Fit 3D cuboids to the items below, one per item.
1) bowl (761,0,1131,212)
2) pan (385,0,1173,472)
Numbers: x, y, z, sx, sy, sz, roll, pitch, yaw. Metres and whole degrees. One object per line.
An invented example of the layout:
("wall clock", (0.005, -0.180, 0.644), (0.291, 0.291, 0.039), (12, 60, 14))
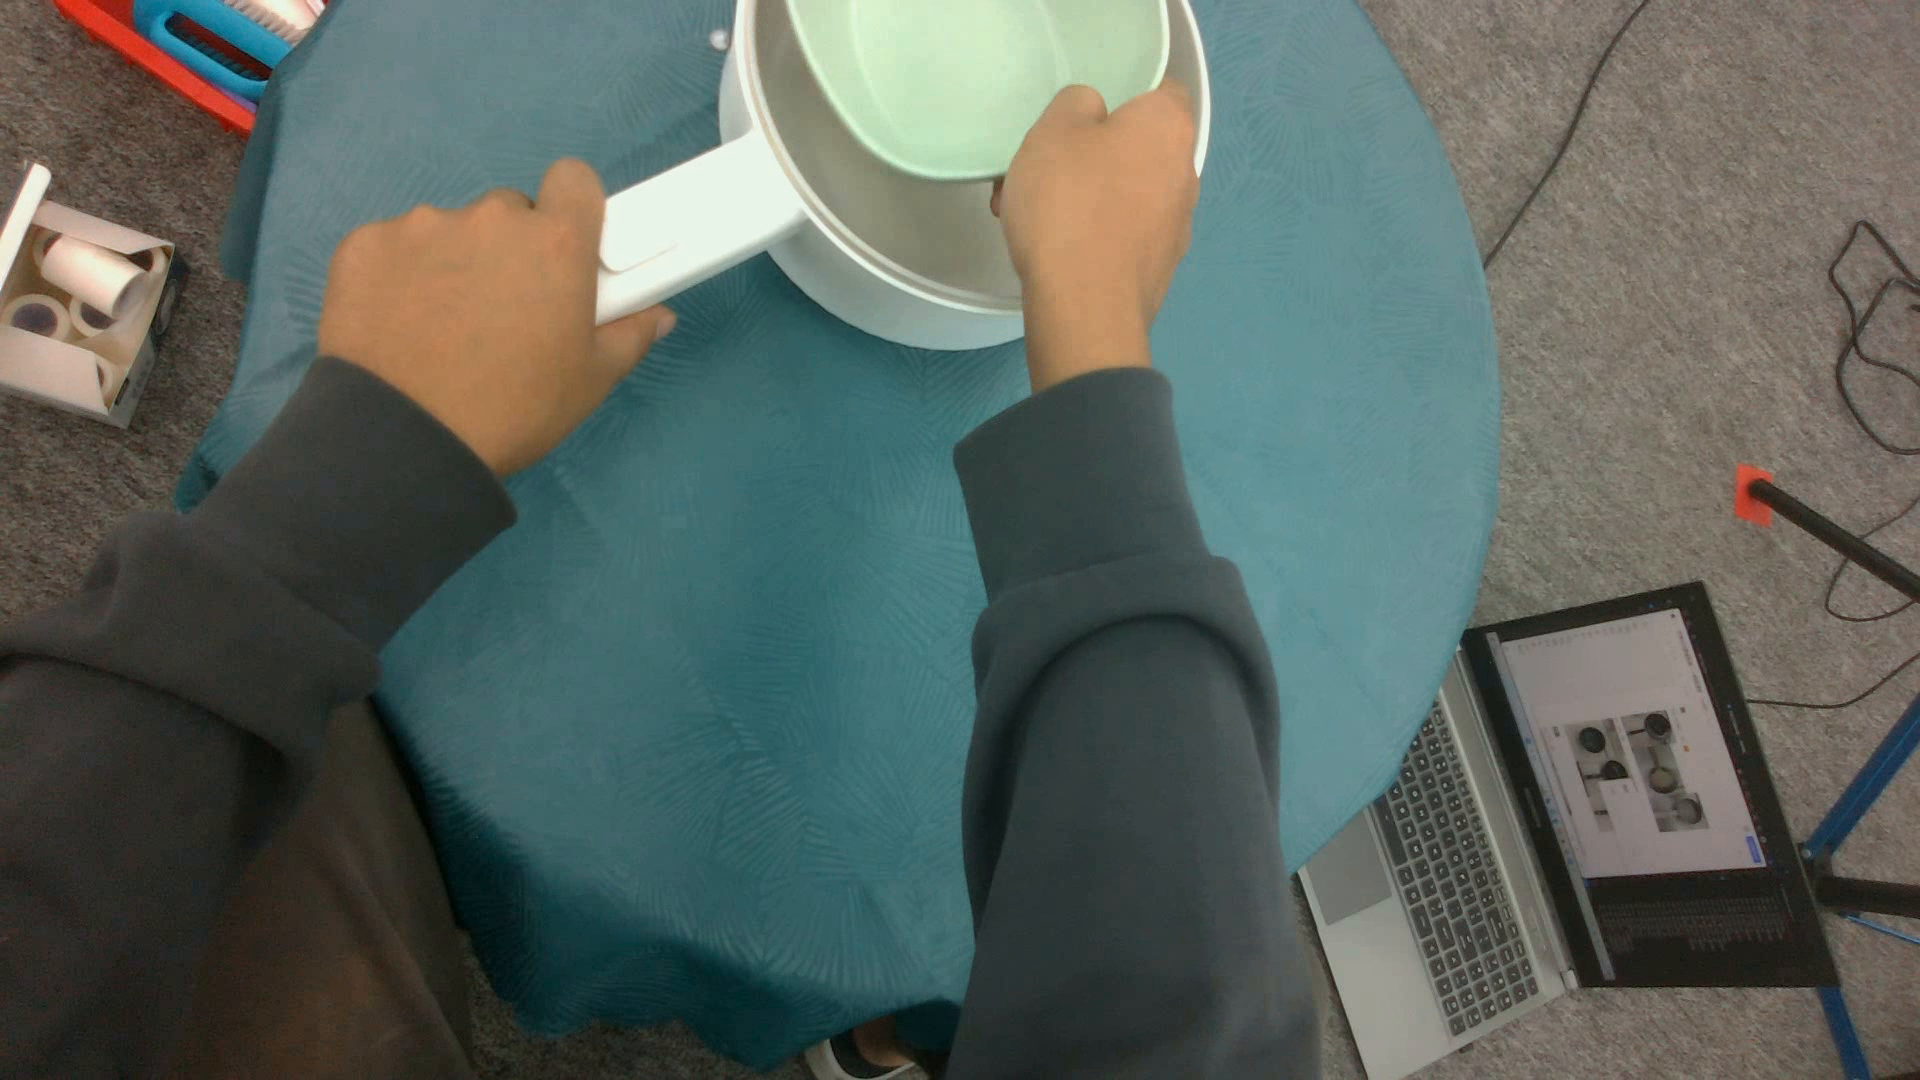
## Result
("bowl", (-0.011, -0.189, 0.548), (0.151, 0.058, 0.152), (4, 77, -17))
("pan", (-0.074, -0.133, 0.597), (0.356, 0.102, 0.201), (-35, 95, -19))
